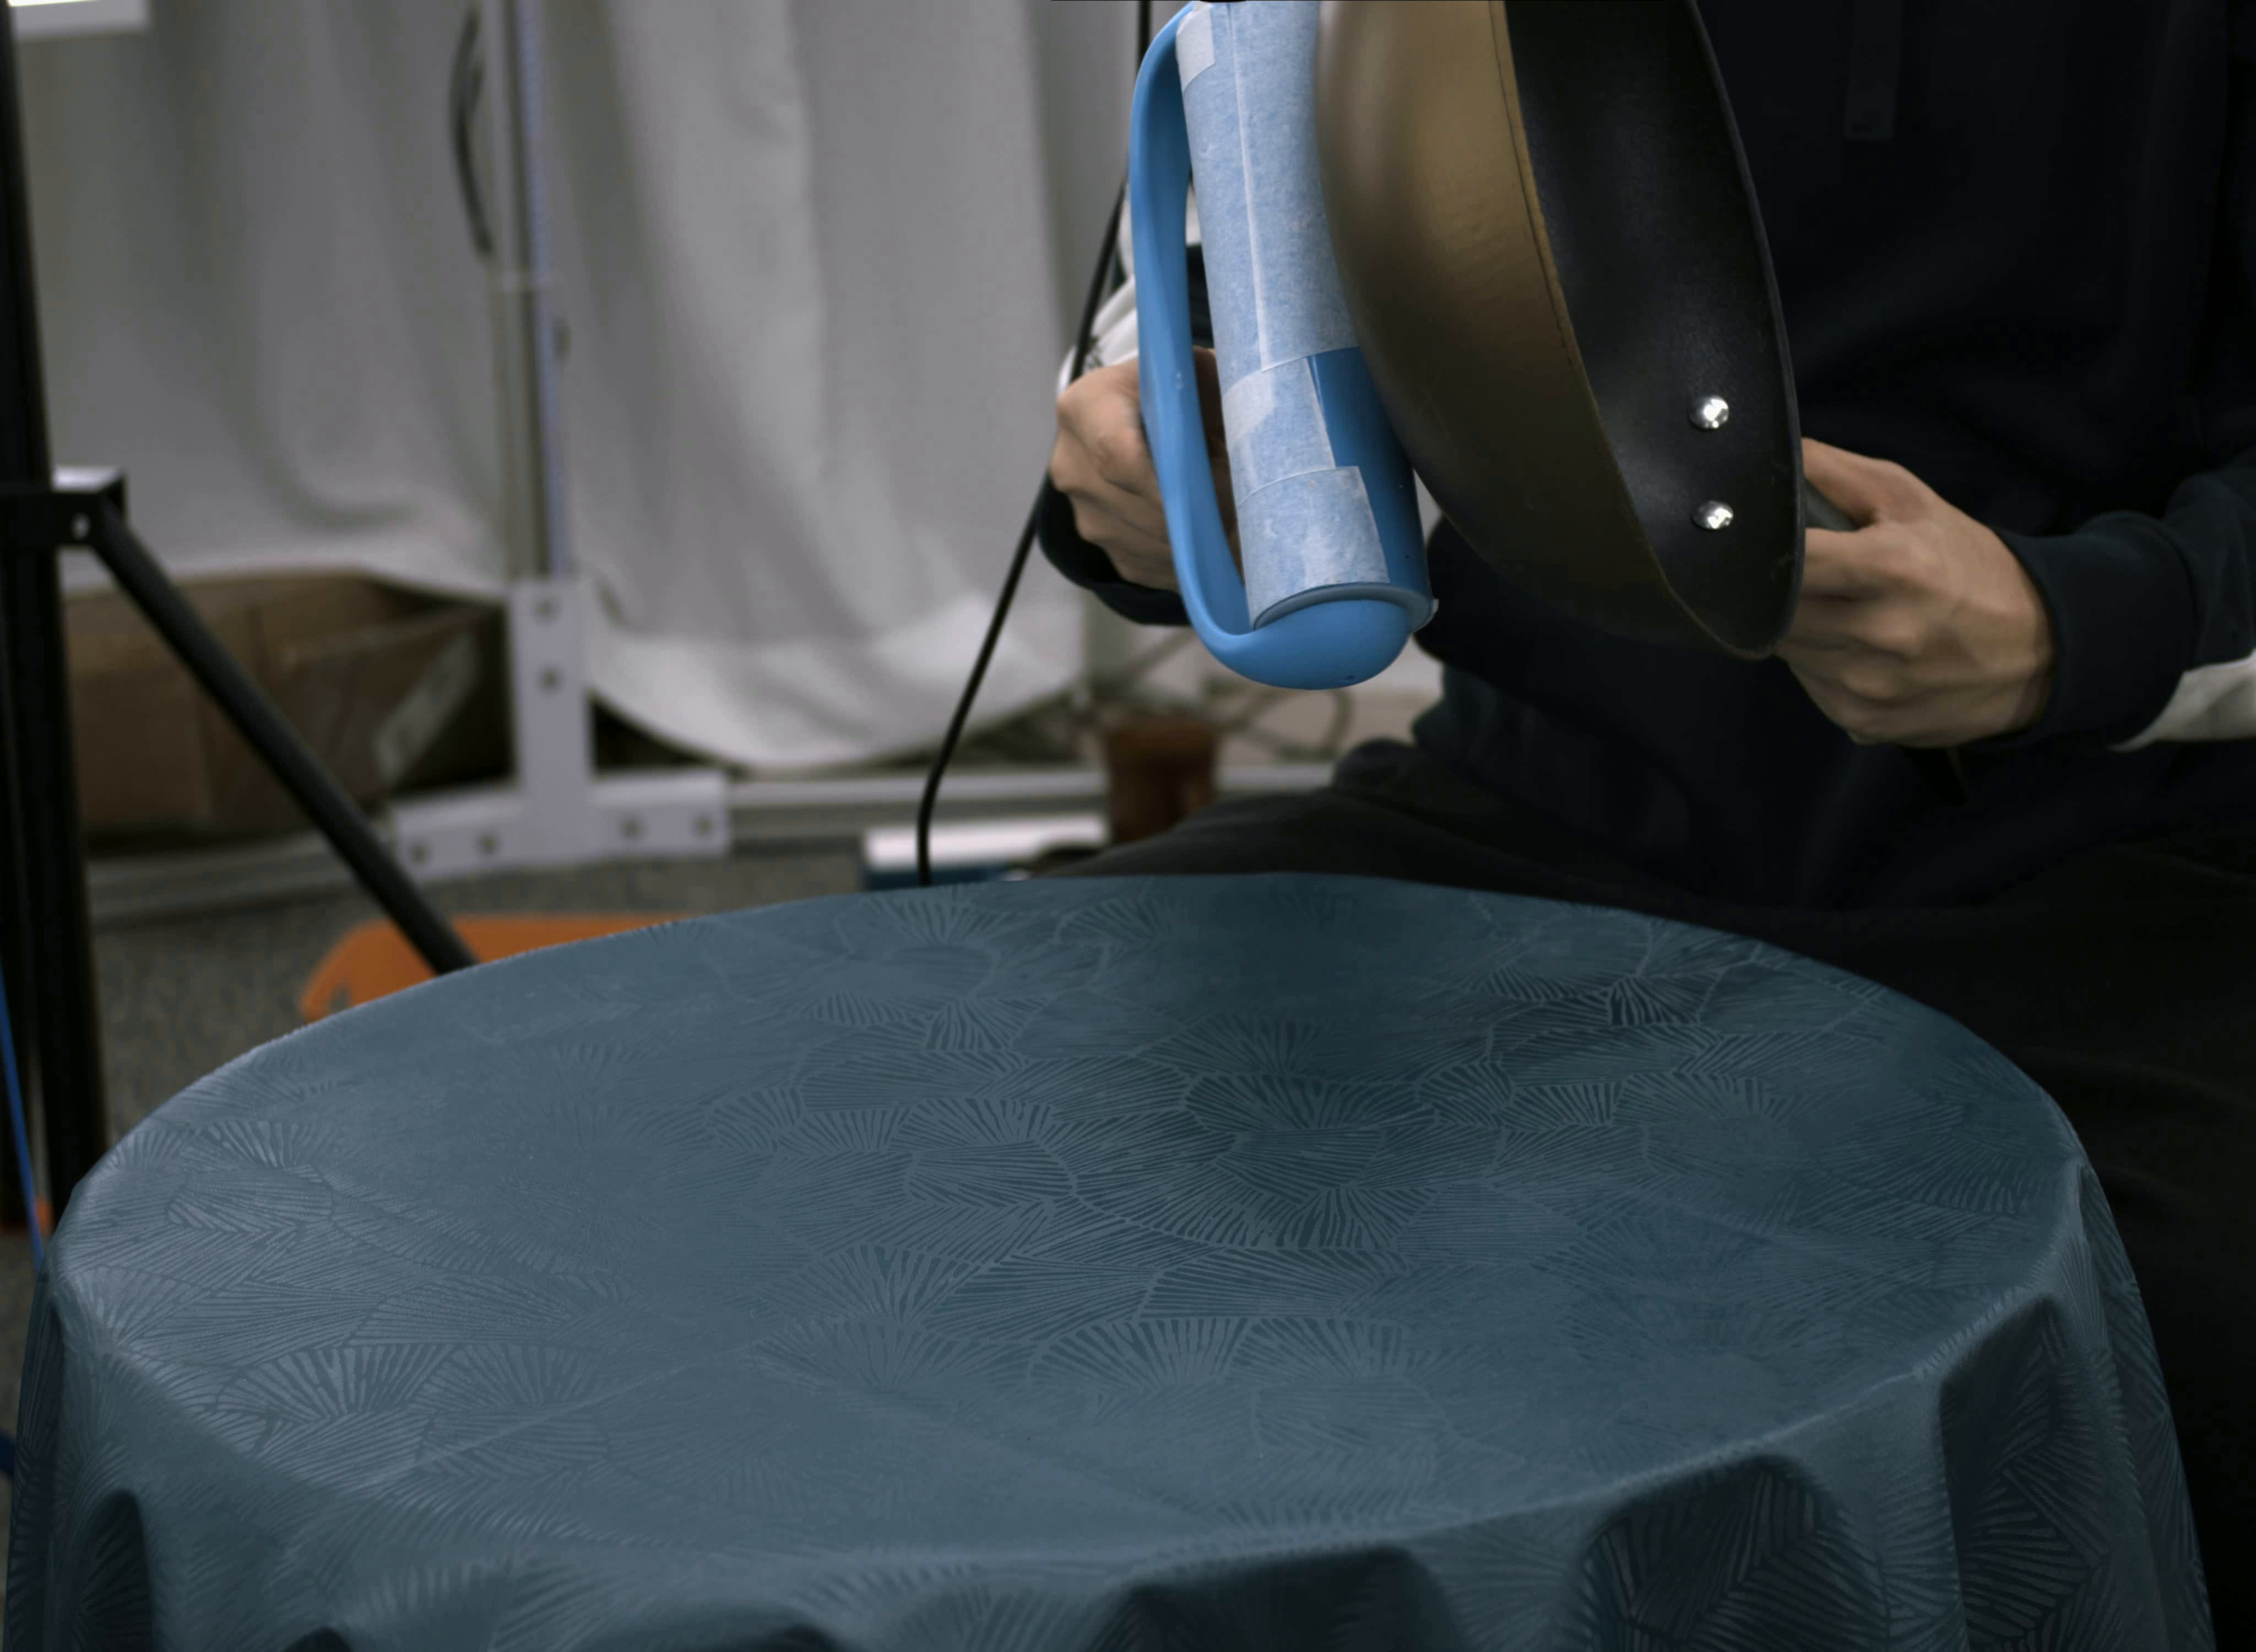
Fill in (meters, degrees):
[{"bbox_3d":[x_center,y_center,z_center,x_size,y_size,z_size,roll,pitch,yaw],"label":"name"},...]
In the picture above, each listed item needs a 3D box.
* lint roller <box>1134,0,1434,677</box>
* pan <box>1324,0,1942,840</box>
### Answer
[{"bbox_3d":[0.036,-0.129,1.622,0.067,0.232,0.181,-1,-24,-16],"label":"lint roller"},{"bbox_3d":[0.155,-0.130,1.637,0.087,0.454,0.291,-13,51,18],"label":"pan"}]
